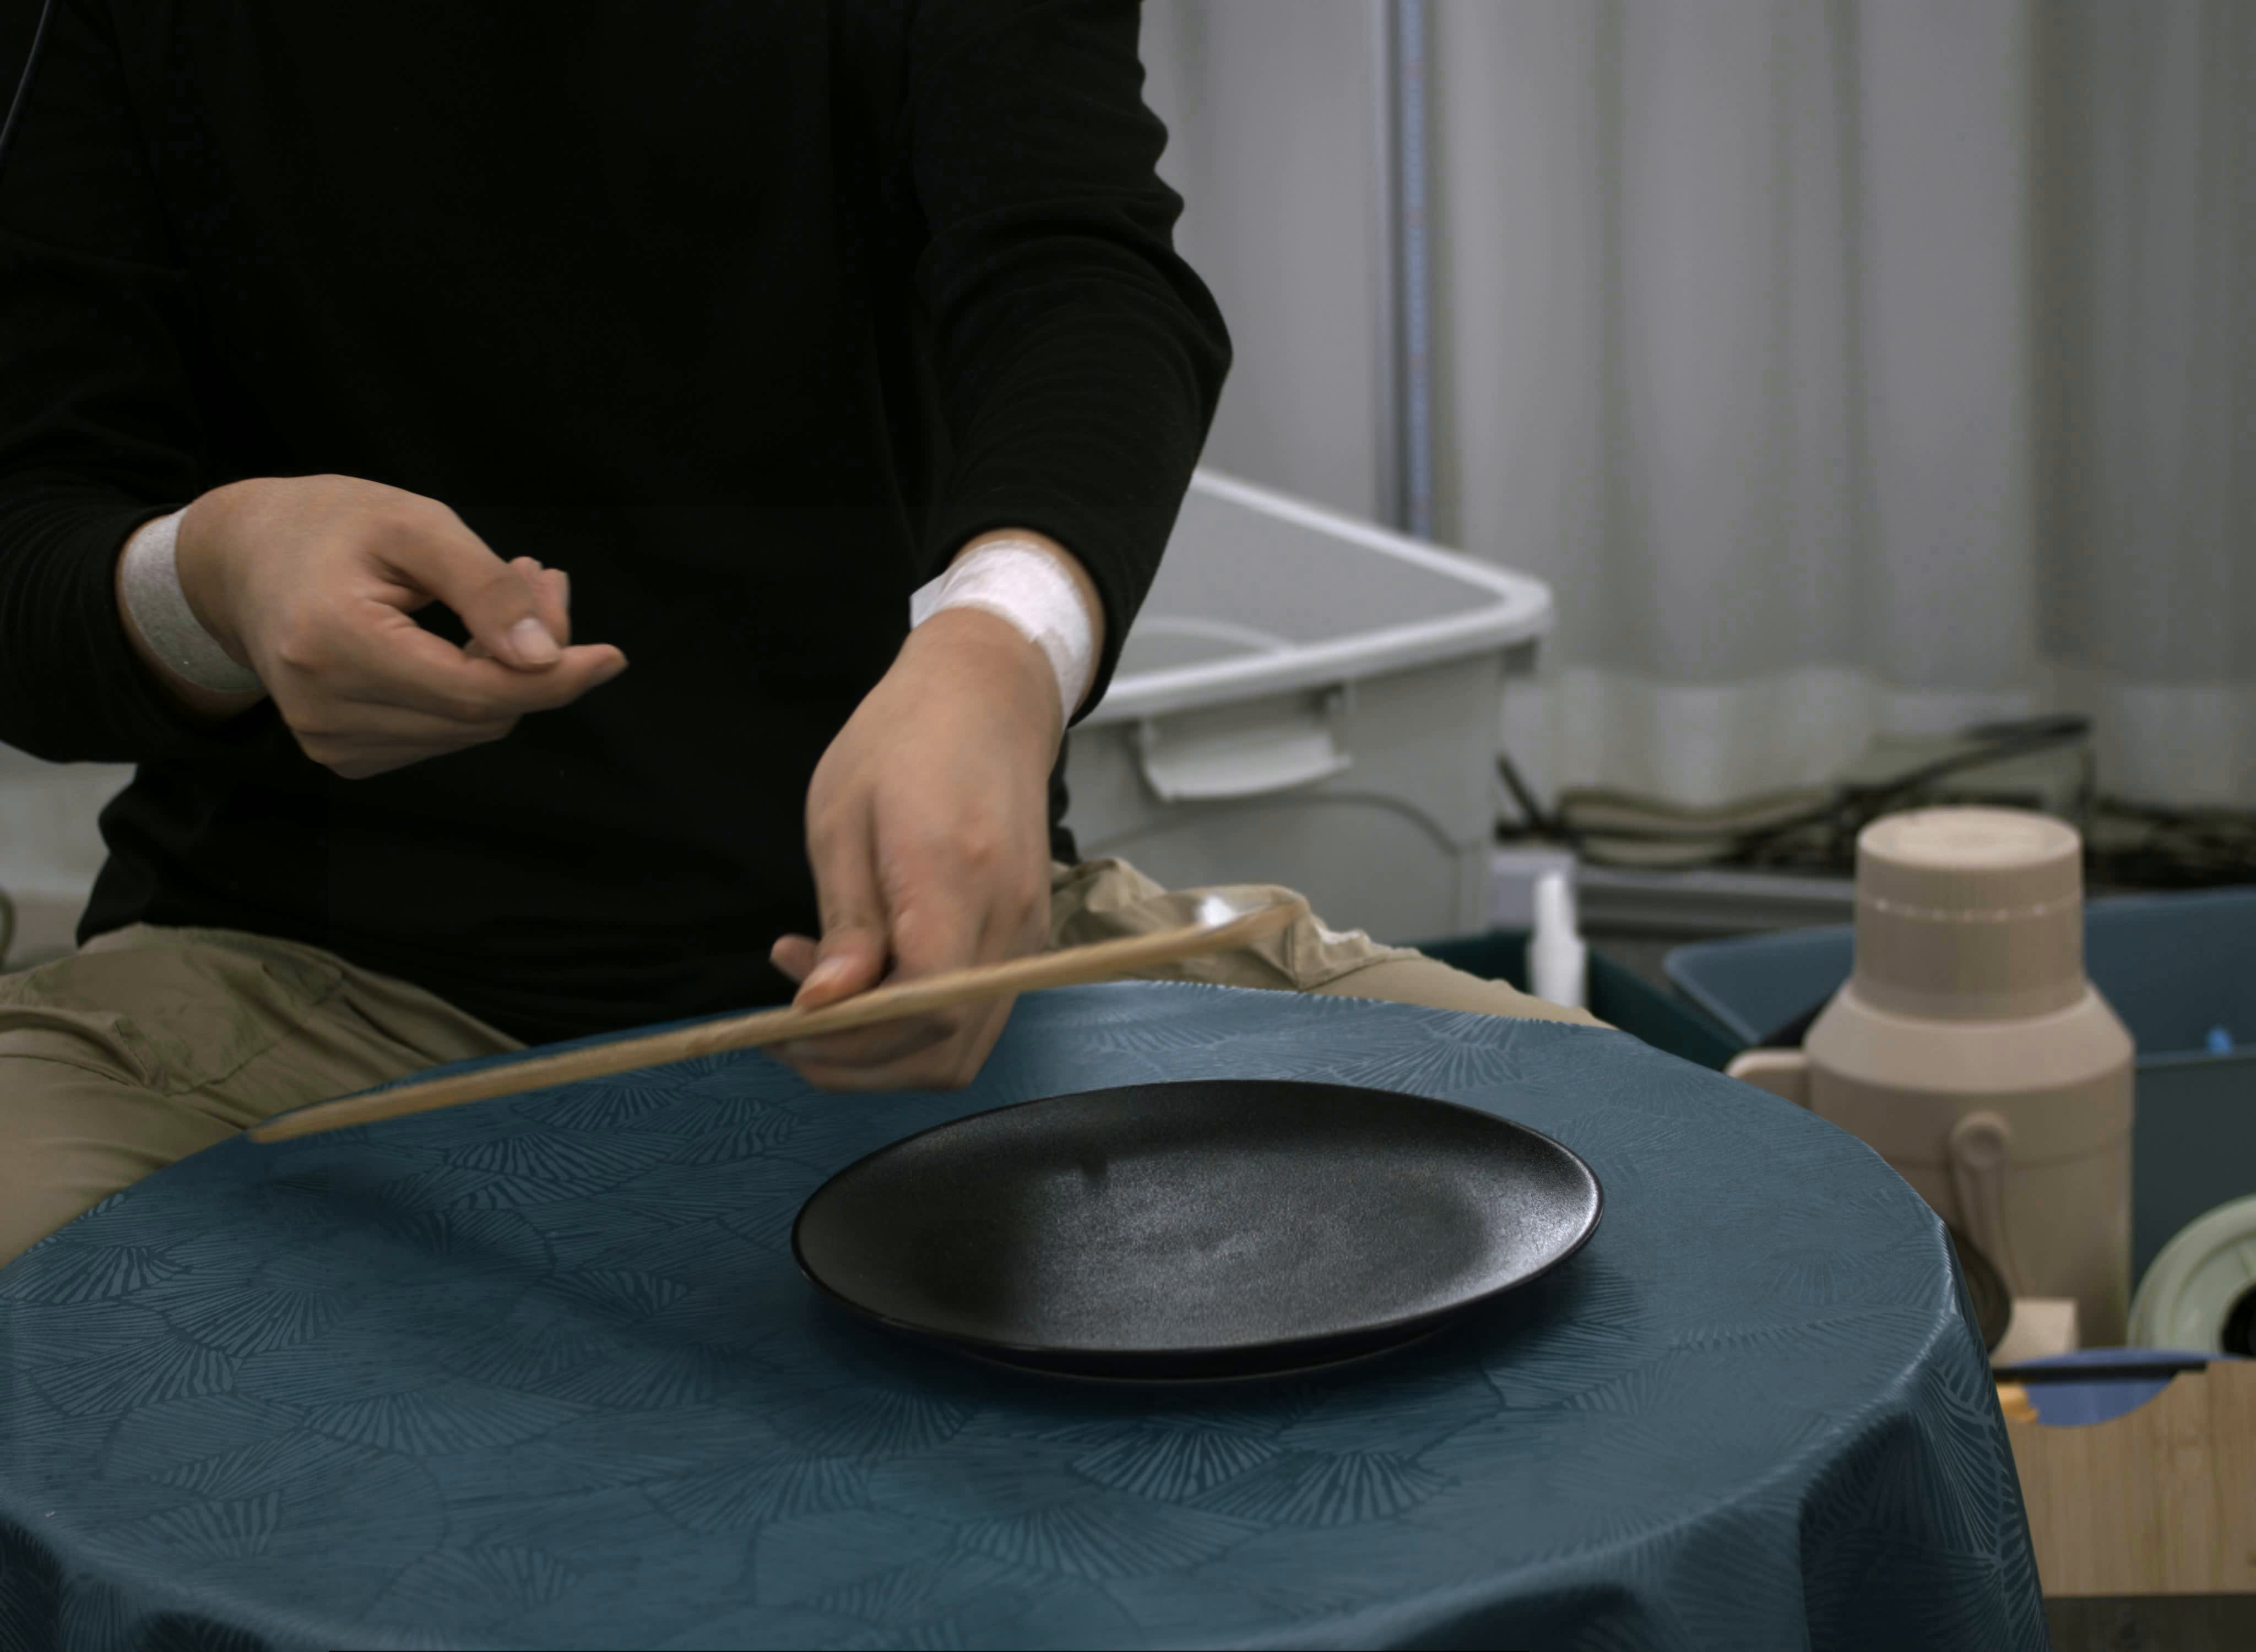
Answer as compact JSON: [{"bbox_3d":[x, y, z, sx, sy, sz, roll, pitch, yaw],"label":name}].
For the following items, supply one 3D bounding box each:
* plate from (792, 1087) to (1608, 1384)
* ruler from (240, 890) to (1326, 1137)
[{"bbox_3d":[0.022,0.124,1.630,0.243,0.023,0.246,-3,15,0],"label":"plate"},{"bbox_3d":[-0.116,0.058,1.573,0.027,0.006,0.500,-22,6,-41],"label":"ruler"}]
